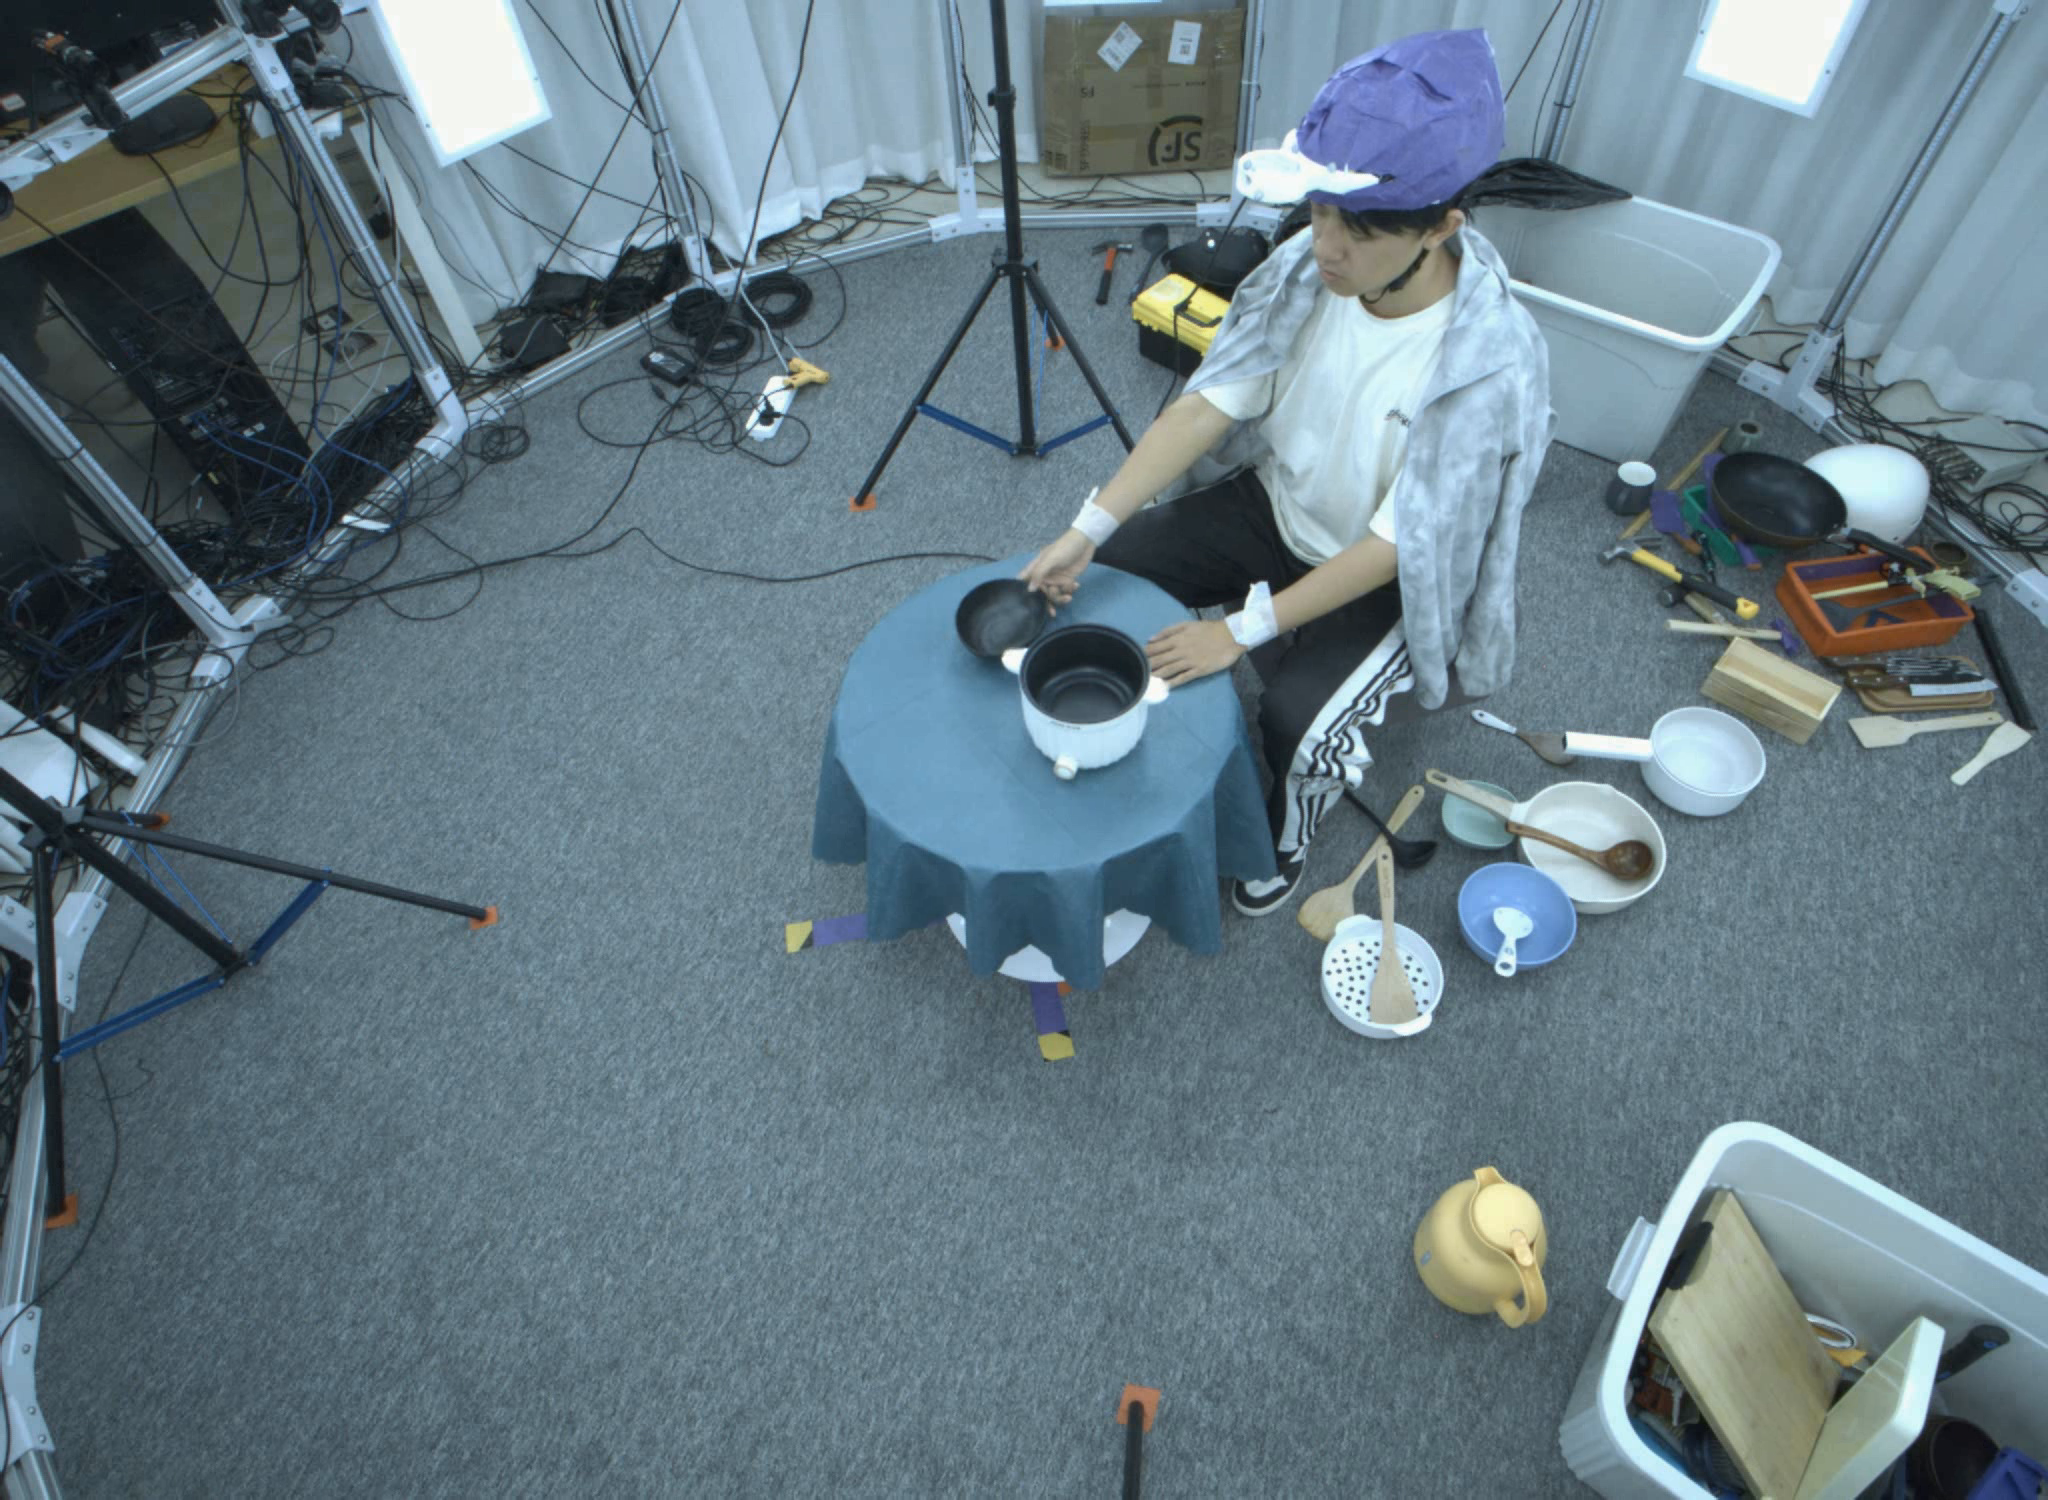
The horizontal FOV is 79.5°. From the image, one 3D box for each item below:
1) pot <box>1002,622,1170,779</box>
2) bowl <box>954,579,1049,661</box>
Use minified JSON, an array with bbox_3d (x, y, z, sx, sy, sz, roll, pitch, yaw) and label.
[{"bbox_3d":[0.087,-0.065,1.748,0.238,0.144,0.190,13,53,12],"label":"pot"},{"bbox_3d":[-0.032,-0.192,1.887,0.136,0.067,0.170,21,57,15],"label":"bowl"}]
